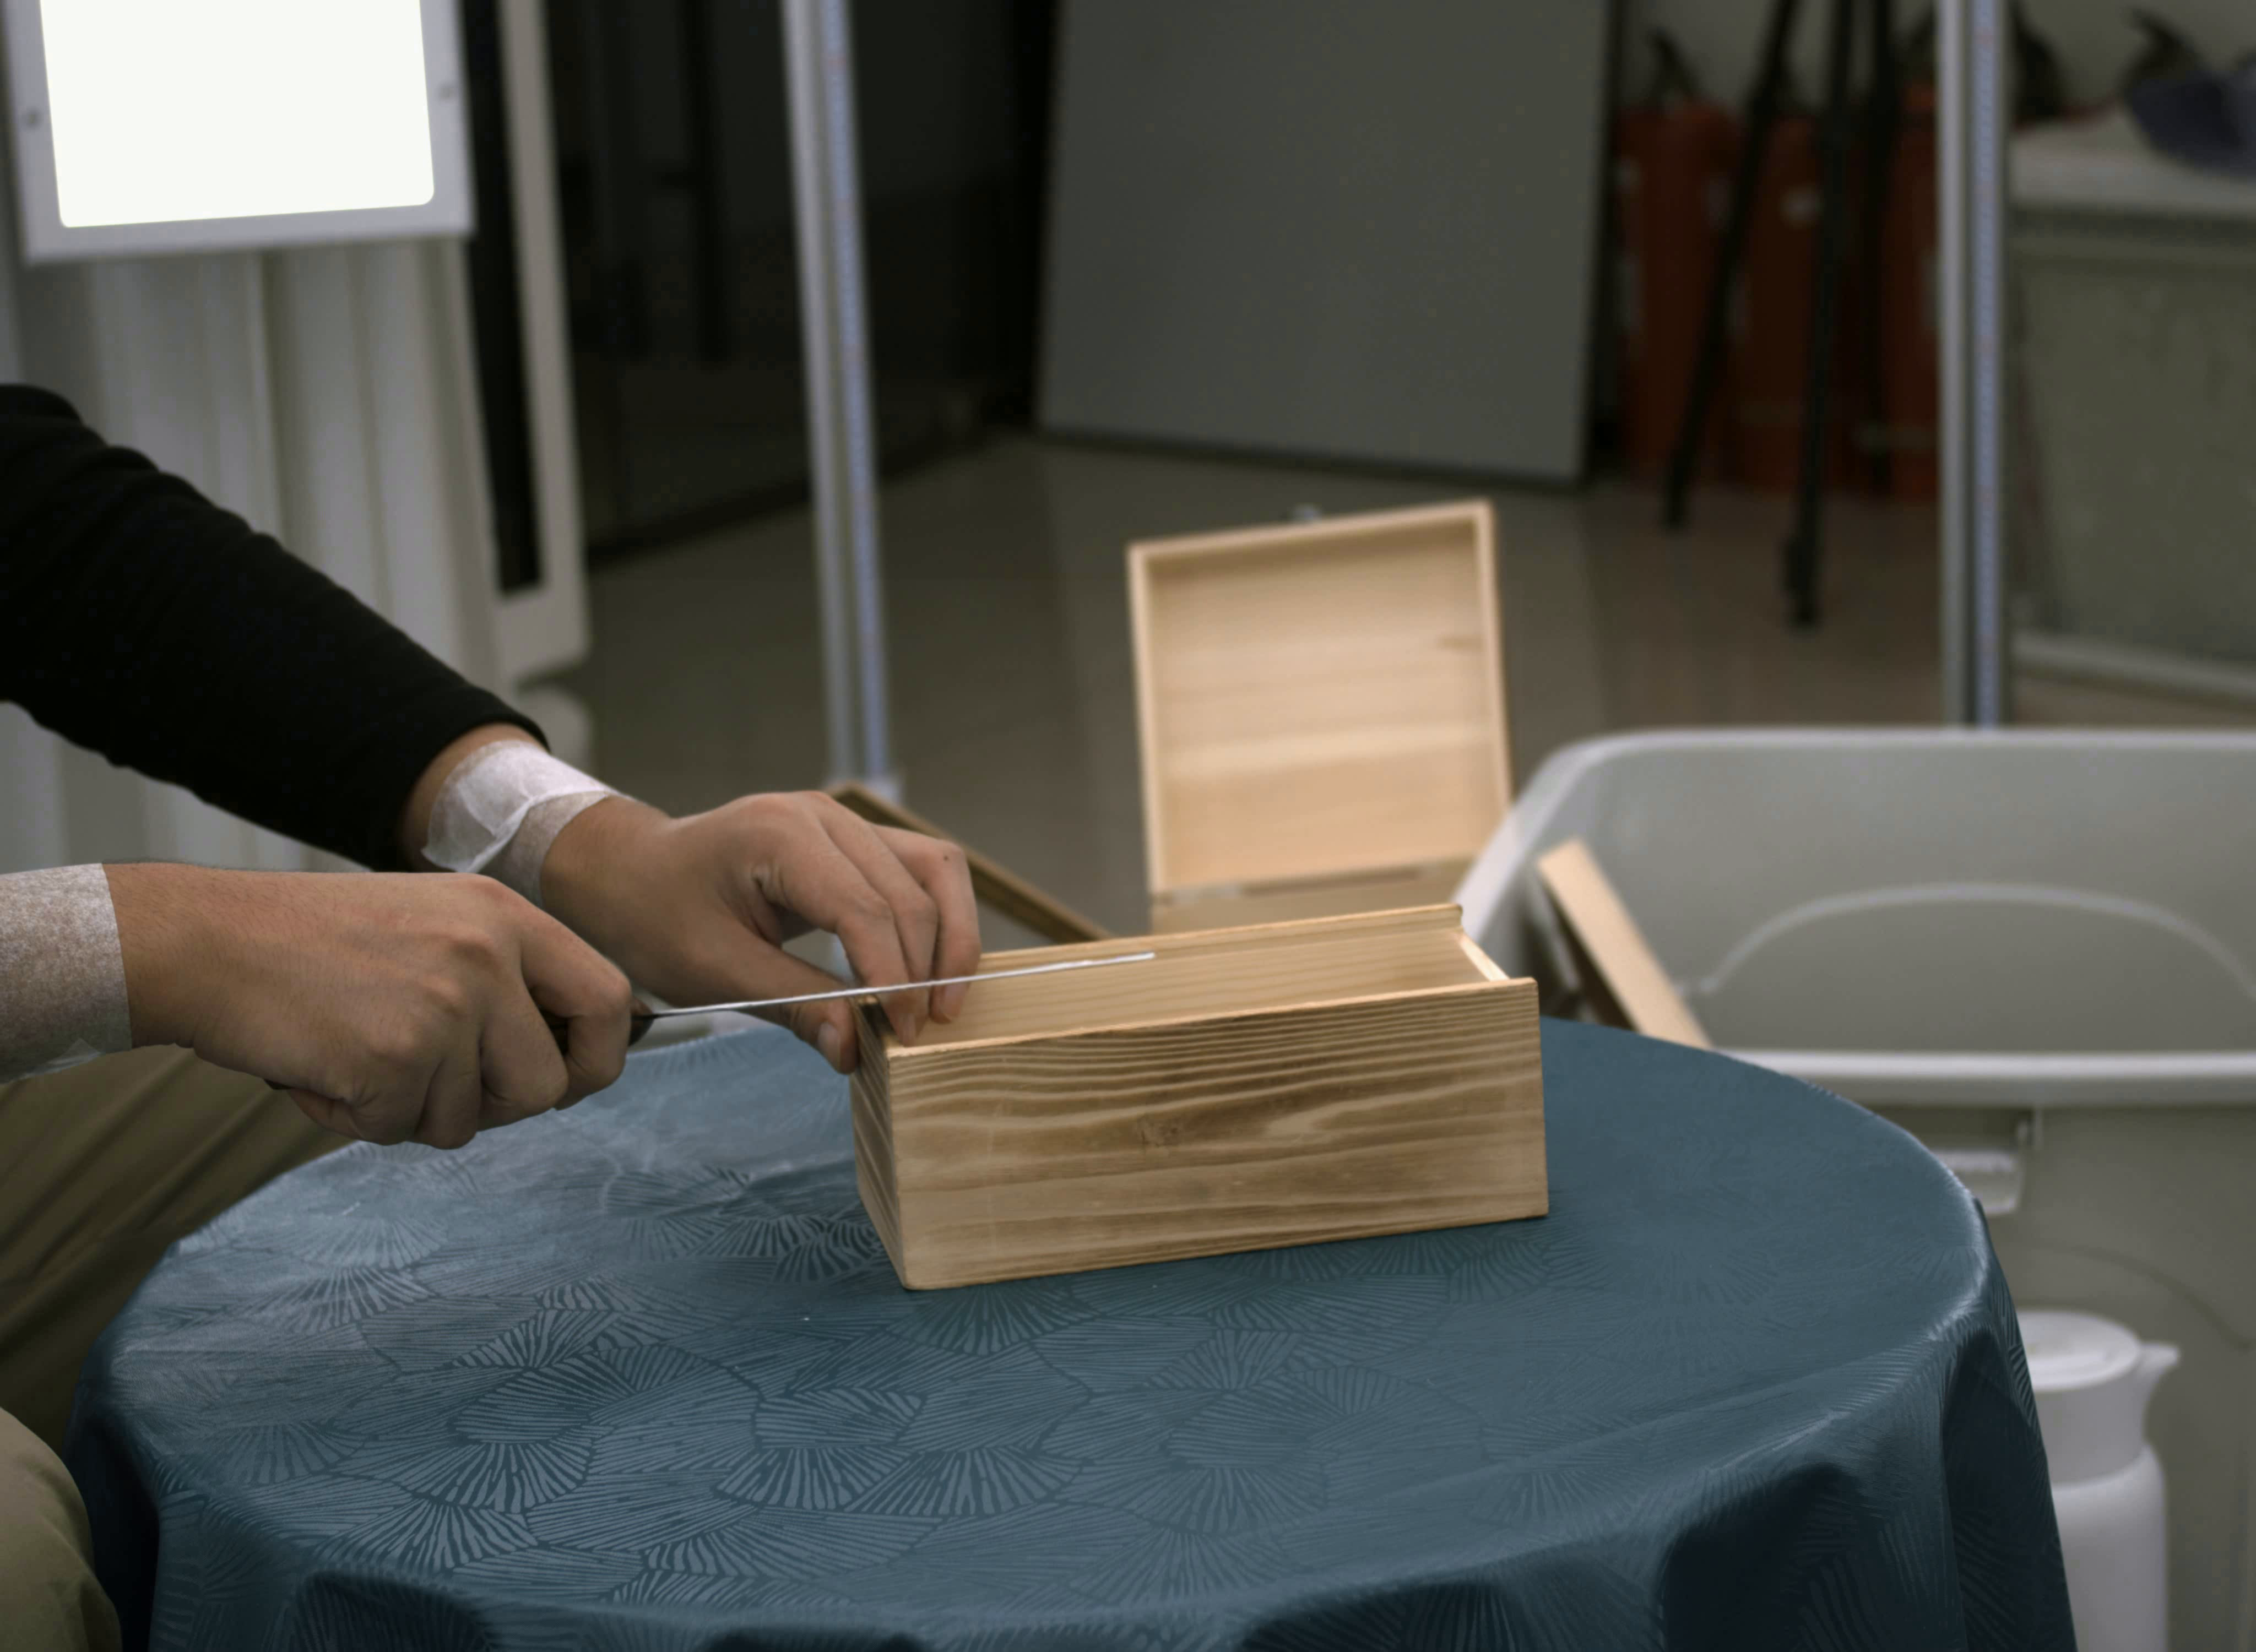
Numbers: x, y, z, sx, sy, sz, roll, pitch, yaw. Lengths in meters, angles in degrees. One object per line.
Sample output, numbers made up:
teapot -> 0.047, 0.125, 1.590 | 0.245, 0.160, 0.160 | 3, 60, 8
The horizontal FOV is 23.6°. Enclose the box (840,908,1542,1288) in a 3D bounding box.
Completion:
box -> 0.019, 0.086, 1.740 | 0.208, 0.081, 0.108 | -6, 13, -8

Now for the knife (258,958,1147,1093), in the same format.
knife -> -0.128, 0.058, 1.688 | 0.283, 0.020, 0.050 | -6, -1, -18
